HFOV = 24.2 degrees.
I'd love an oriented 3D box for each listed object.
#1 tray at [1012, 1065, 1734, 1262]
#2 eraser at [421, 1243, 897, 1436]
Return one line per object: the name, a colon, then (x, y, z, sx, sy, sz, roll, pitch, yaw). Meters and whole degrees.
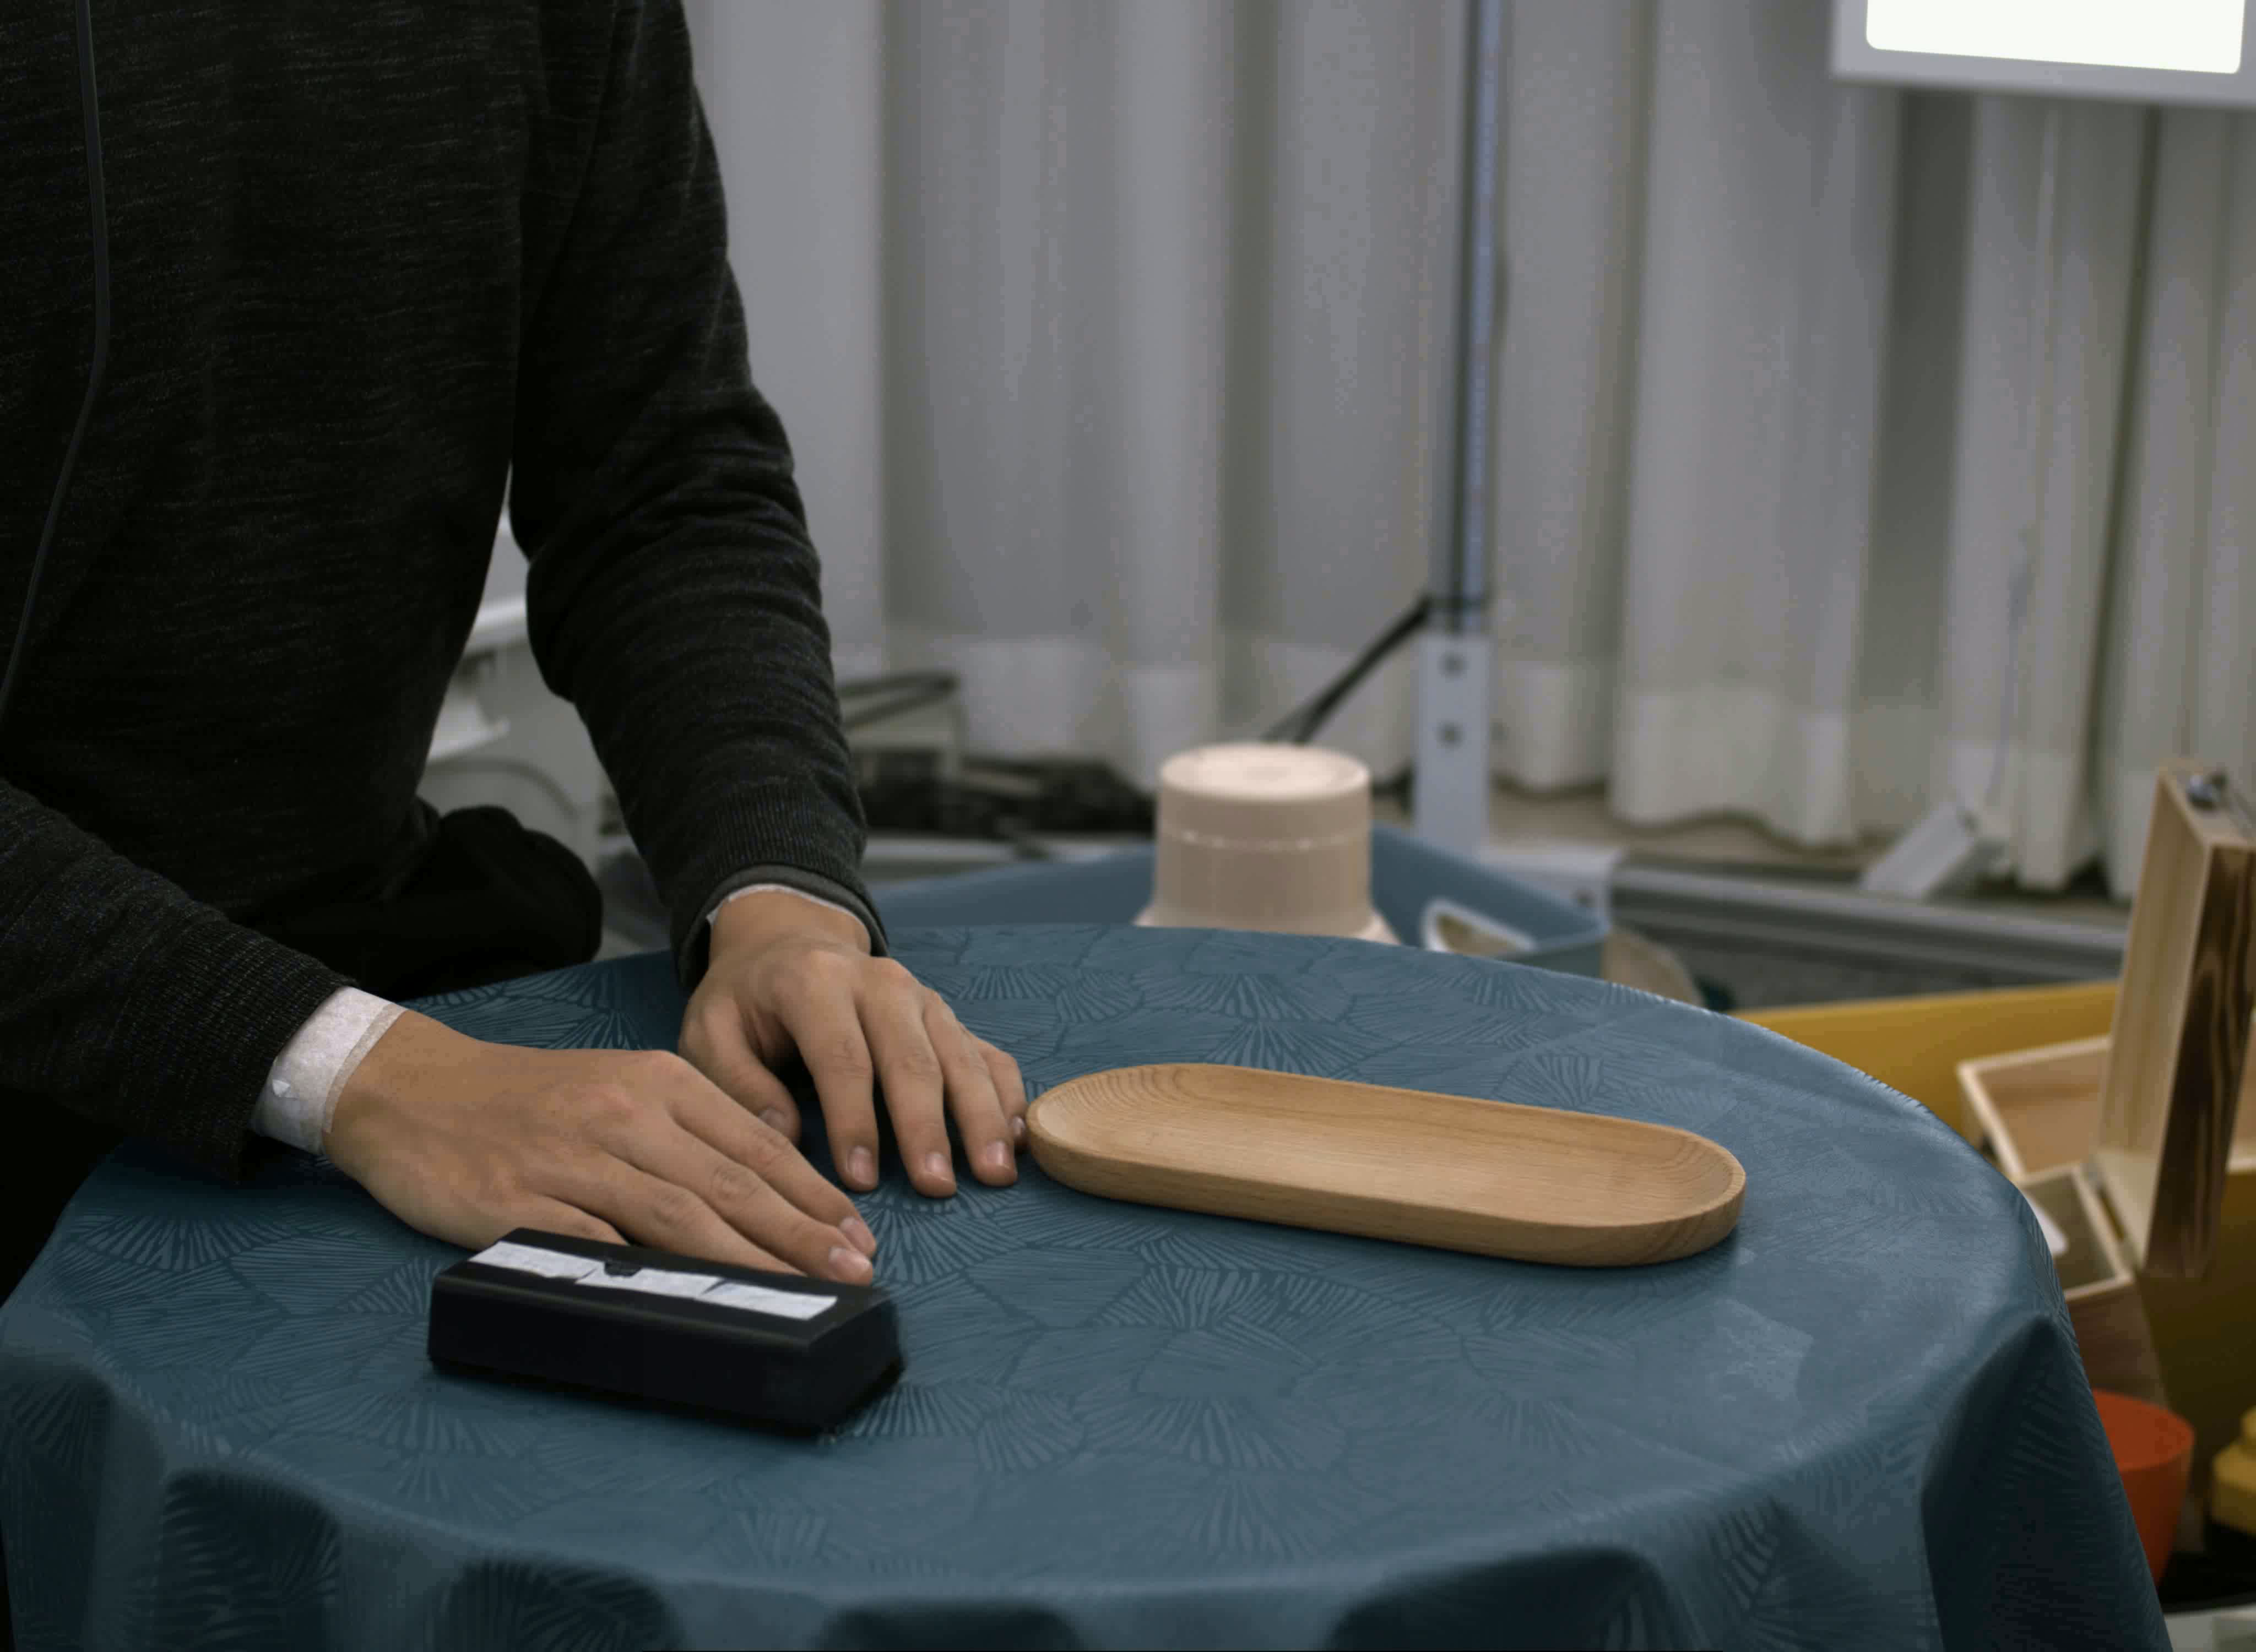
tray: (0.074, 0.103, 1.624, 0.229, 0.020, 0.102, 5, 15, 22)
eraser: (-0.129, 0.141, 1.460, 0.124, 0.030, 0.053, 6, 14, 23)
